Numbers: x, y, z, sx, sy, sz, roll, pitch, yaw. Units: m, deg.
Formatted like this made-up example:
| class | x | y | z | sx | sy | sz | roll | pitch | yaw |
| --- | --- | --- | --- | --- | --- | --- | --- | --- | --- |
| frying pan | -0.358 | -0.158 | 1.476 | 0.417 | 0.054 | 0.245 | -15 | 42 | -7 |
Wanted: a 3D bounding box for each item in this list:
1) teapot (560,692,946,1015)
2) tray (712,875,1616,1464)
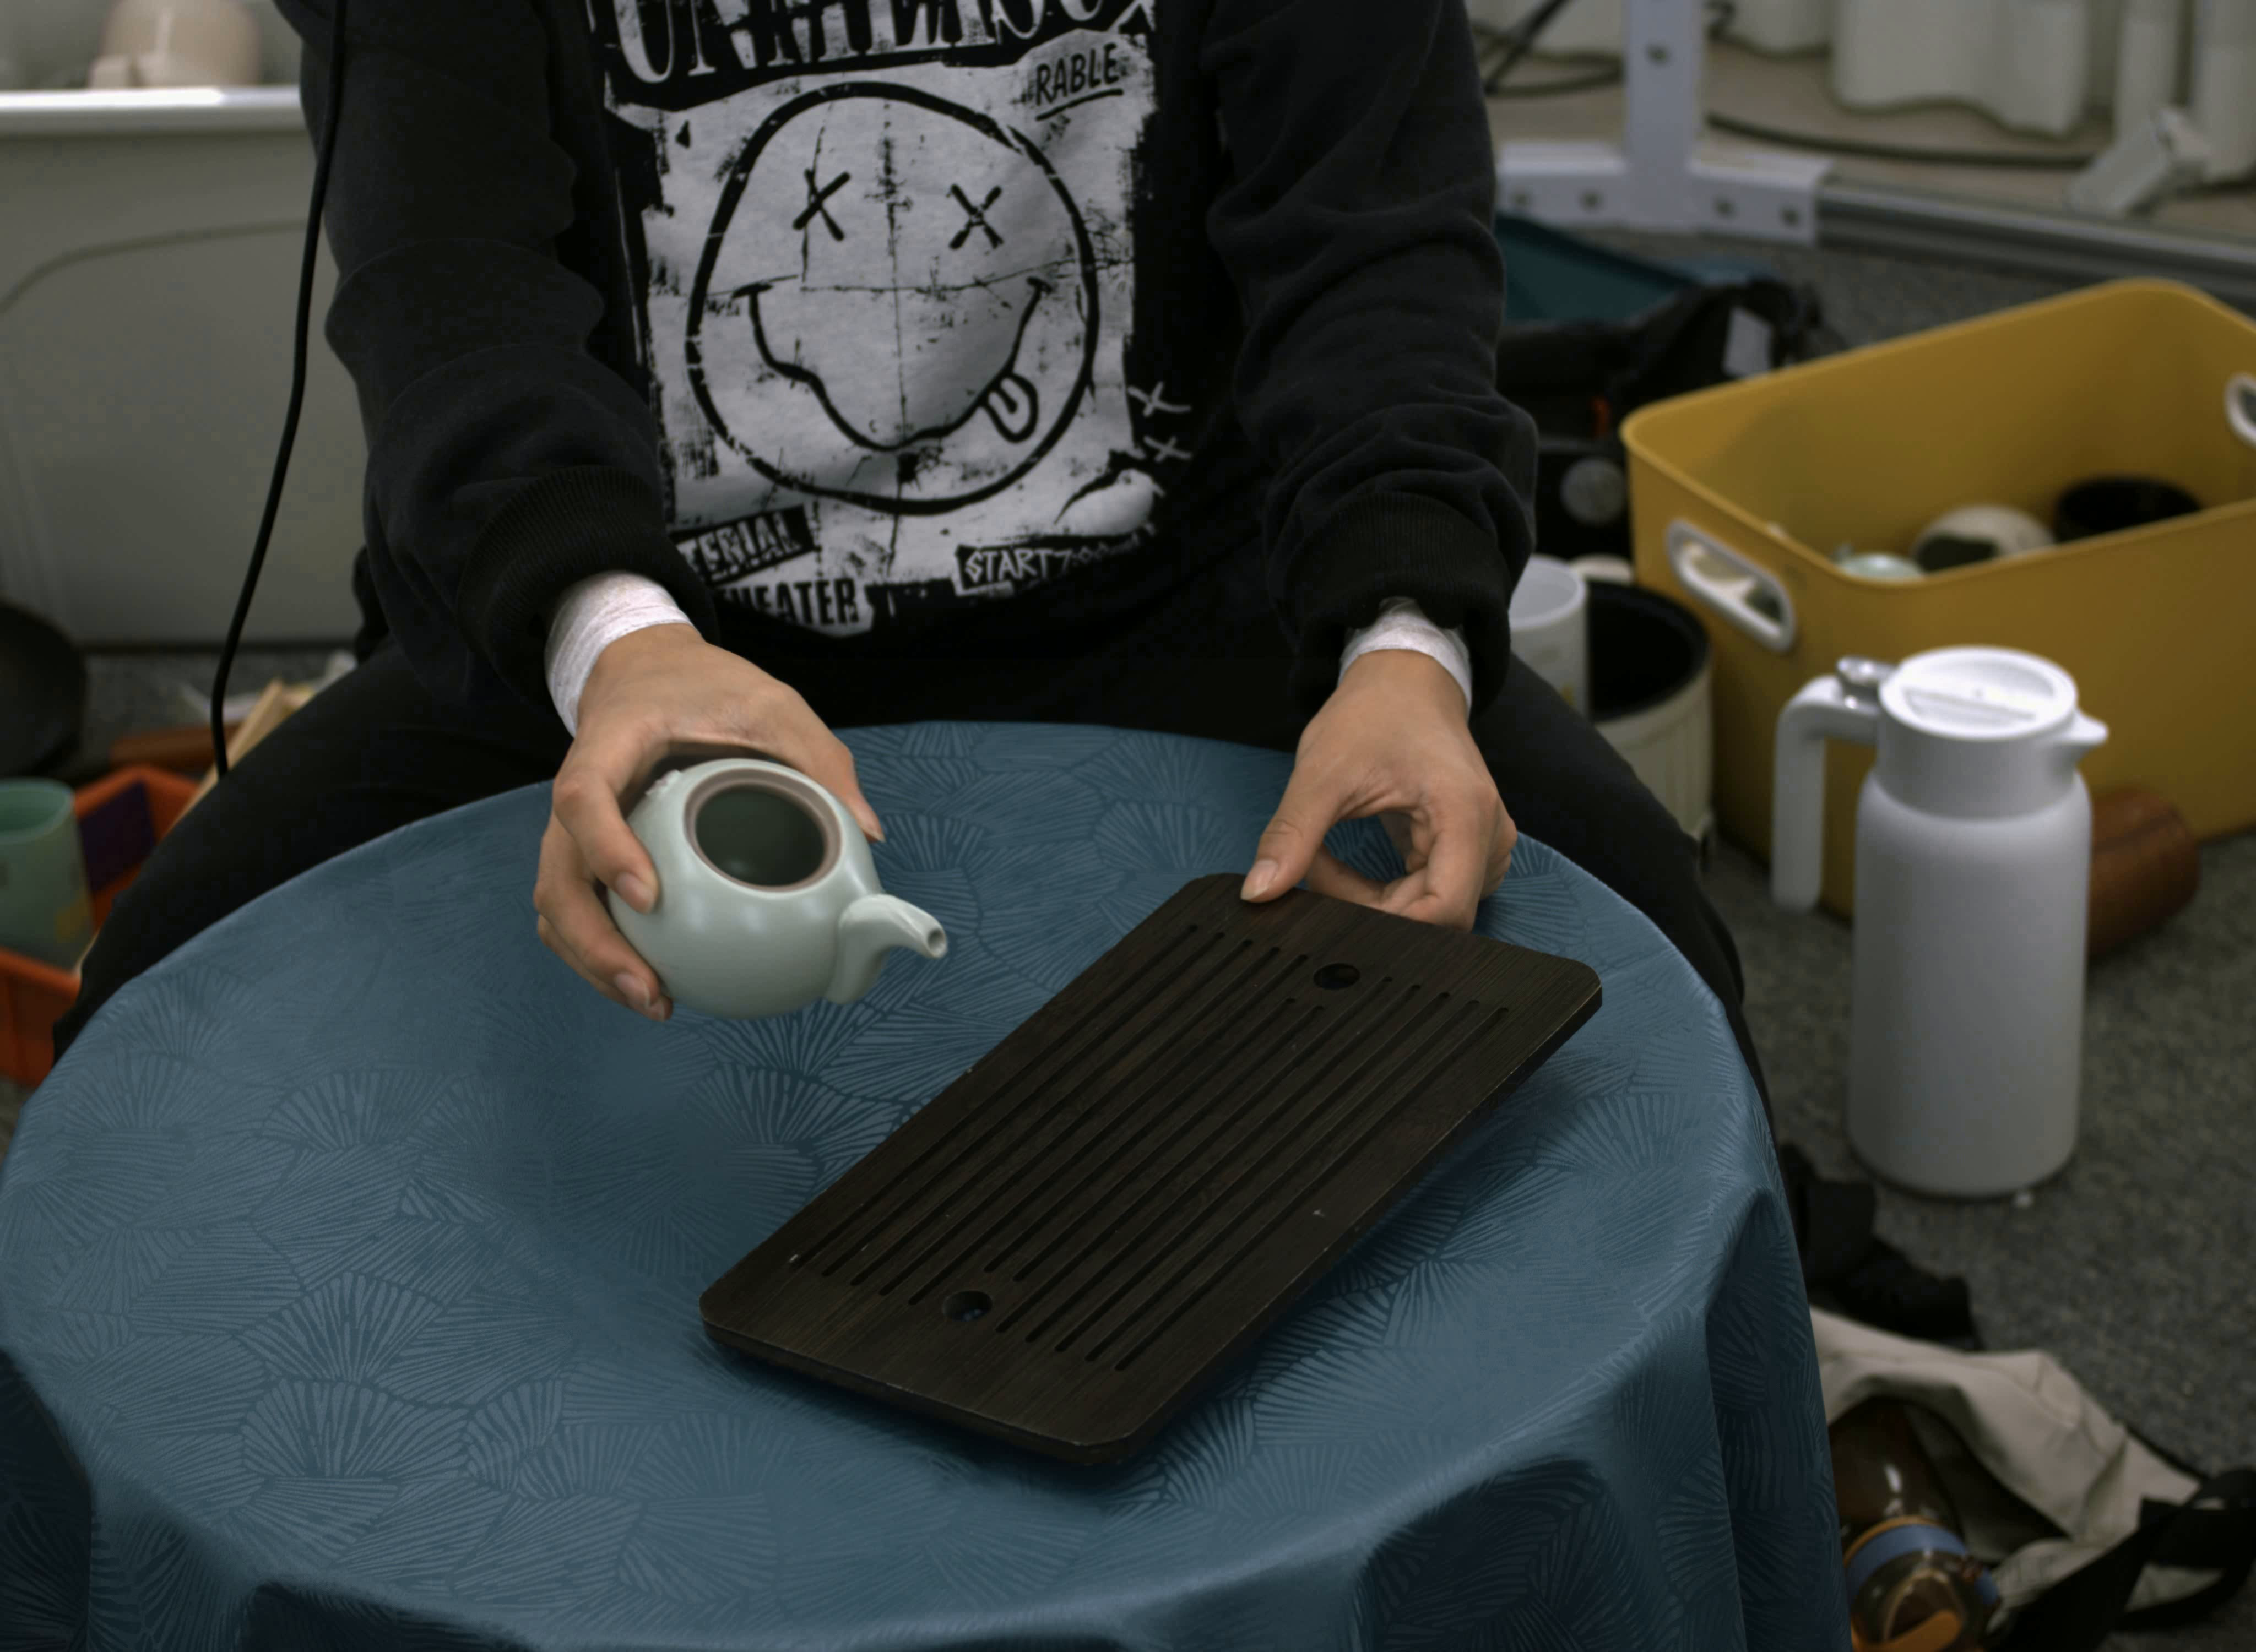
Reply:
| class | x | y | z | sx | sy | sz | roll | pitch | yaw |
| --- | --- | --- | --- | --- | --- | --- | --- | --- | --- |
| teapot | -0.126 | 0.018 | 1.827 | 0.144 | 0.073 | 0.090 | 35 | 45 | 11 |
| tray | 0.017 | 0.109 | 1.841 | 0.169 | 0.018 | 0.311 | 14 | 35 | 32 |
